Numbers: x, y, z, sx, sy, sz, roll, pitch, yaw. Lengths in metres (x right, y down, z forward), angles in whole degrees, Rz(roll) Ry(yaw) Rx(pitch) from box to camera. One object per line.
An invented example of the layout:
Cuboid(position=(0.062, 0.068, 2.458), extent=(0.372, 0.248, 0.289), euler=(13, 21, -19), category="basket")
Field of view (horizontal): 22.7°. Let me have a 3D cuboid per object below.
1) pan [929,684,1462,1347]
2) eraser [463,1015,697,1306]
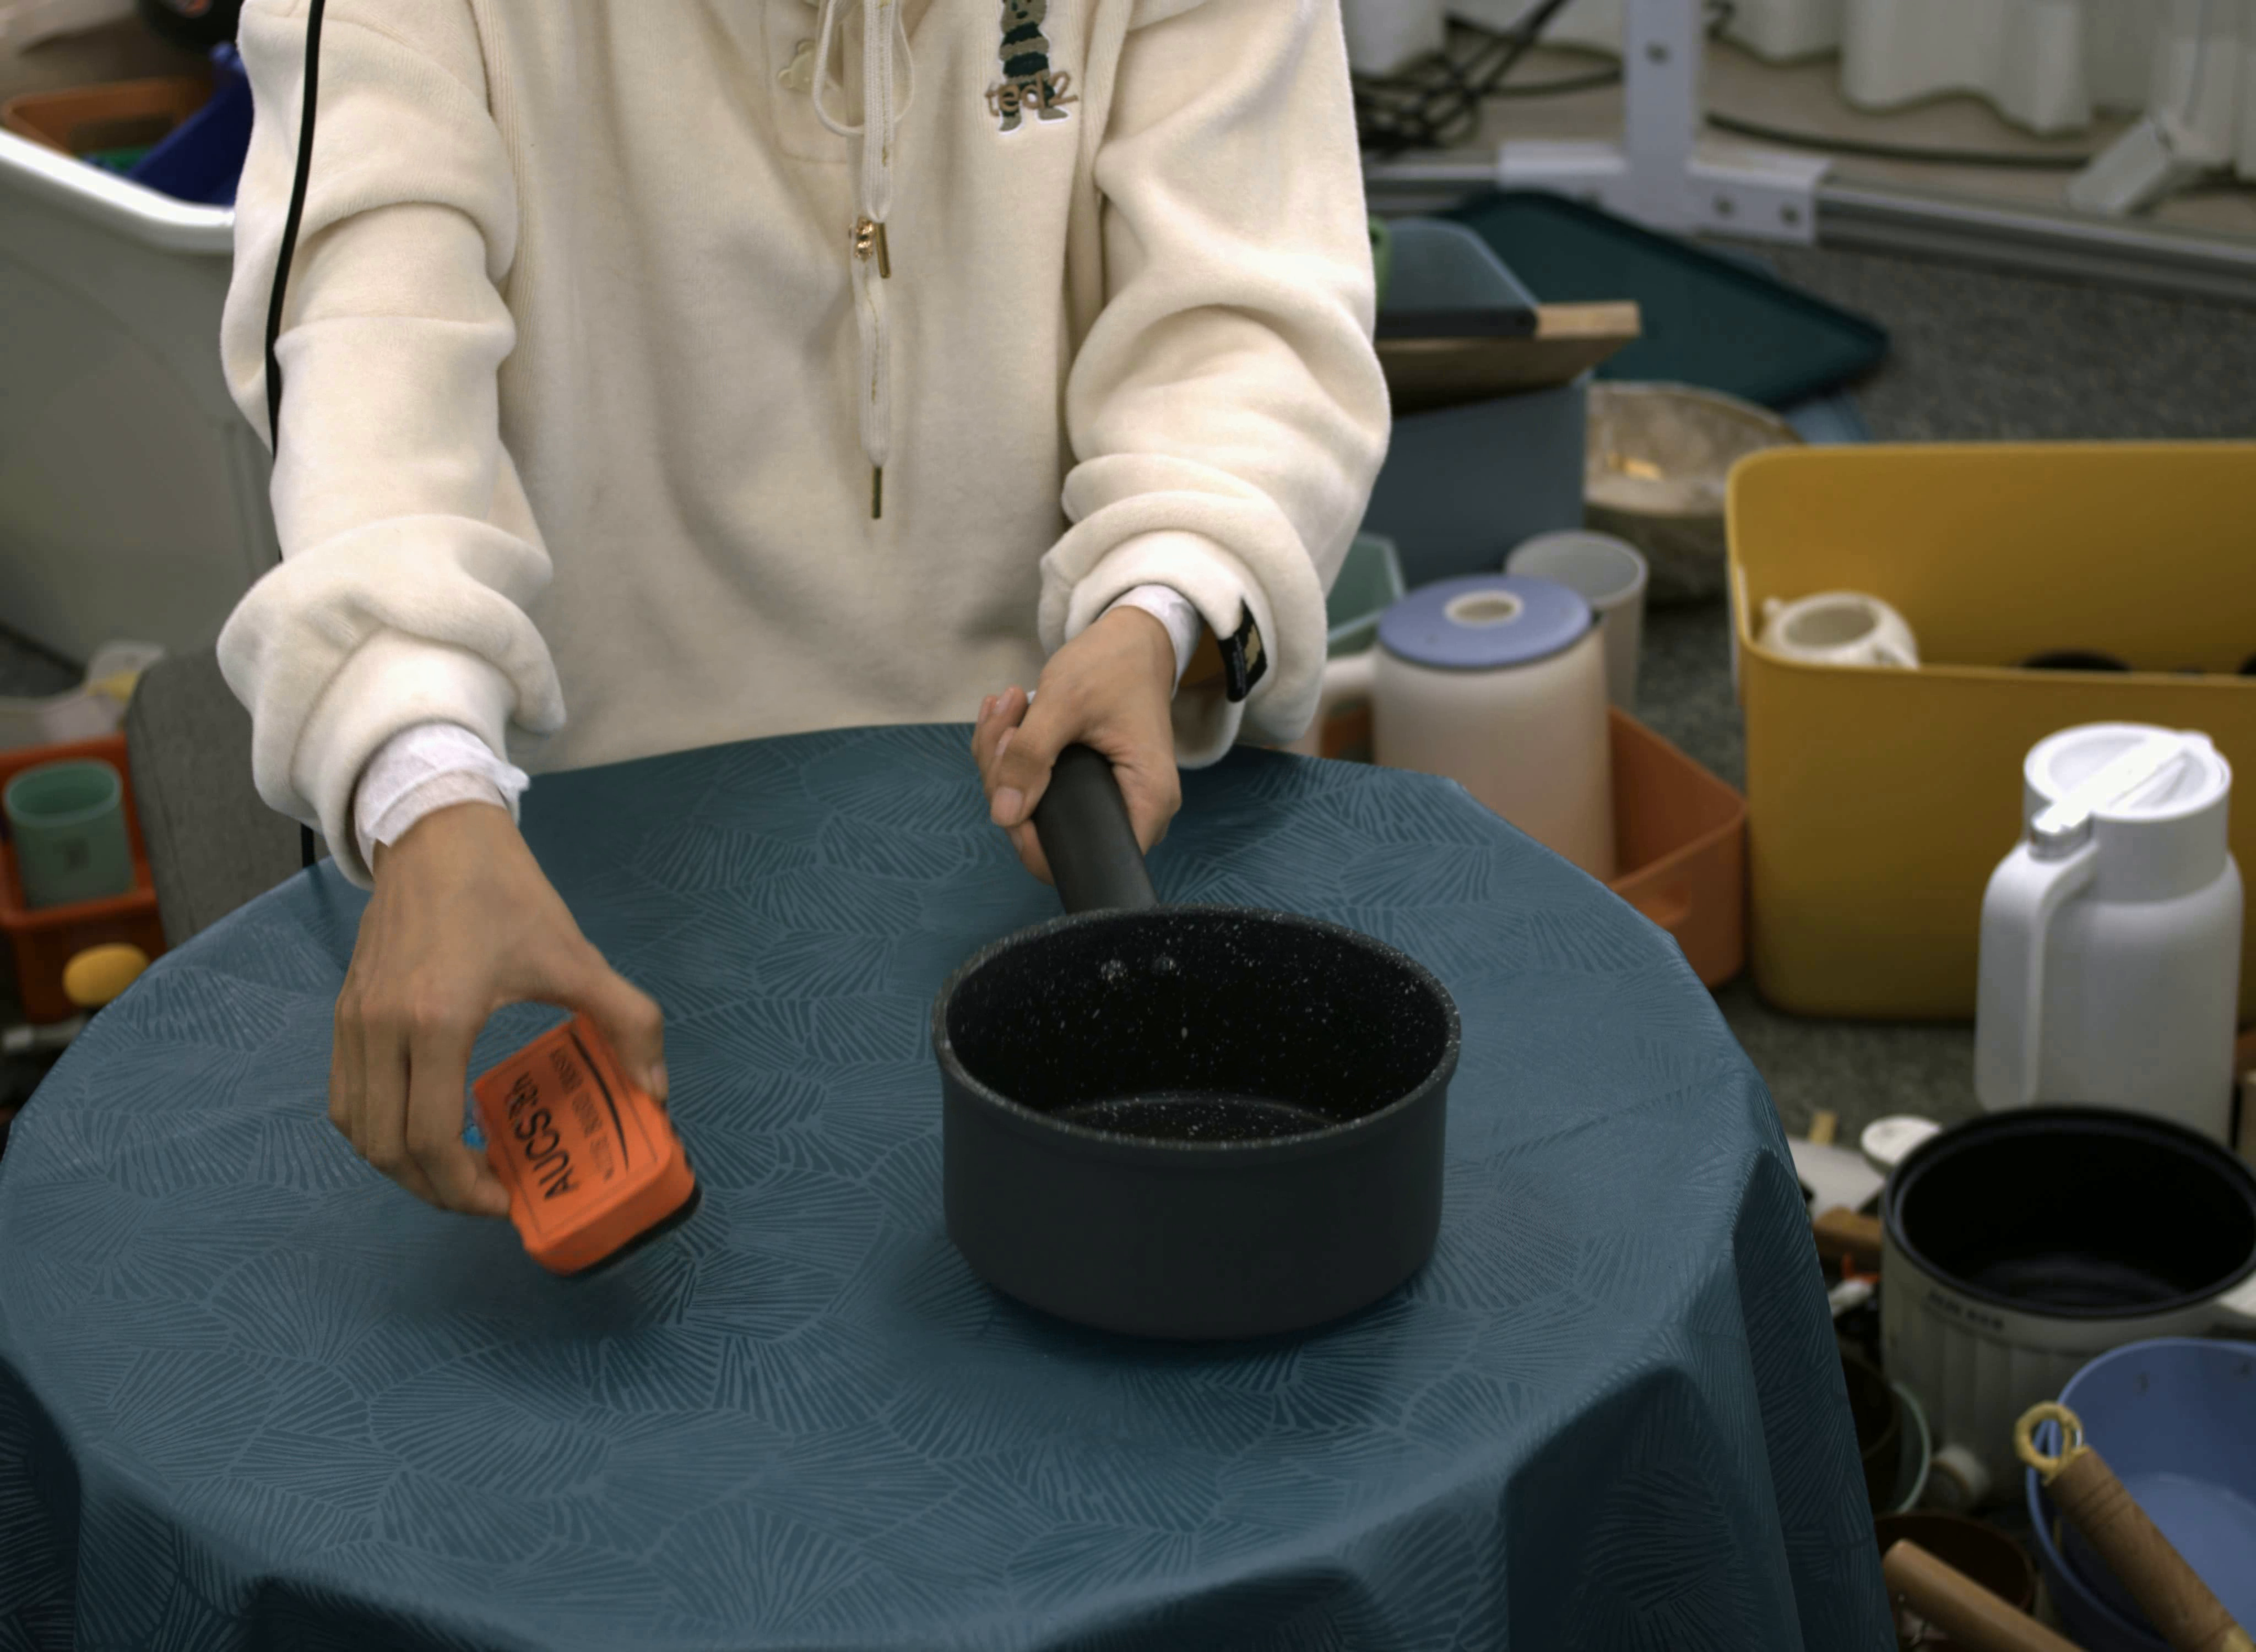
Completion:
Cuboid(position=(0.007, 0.060, 1.886), extent=(0.172, 0.085, 0.333), euler=(-4, 27, -10), category="pan")
Cuboid(position=(-0.178, 0.108, 1.823), extent=(0.059, 0.022, 0.109), euler=(-33, 33, 0), category="eraser")
